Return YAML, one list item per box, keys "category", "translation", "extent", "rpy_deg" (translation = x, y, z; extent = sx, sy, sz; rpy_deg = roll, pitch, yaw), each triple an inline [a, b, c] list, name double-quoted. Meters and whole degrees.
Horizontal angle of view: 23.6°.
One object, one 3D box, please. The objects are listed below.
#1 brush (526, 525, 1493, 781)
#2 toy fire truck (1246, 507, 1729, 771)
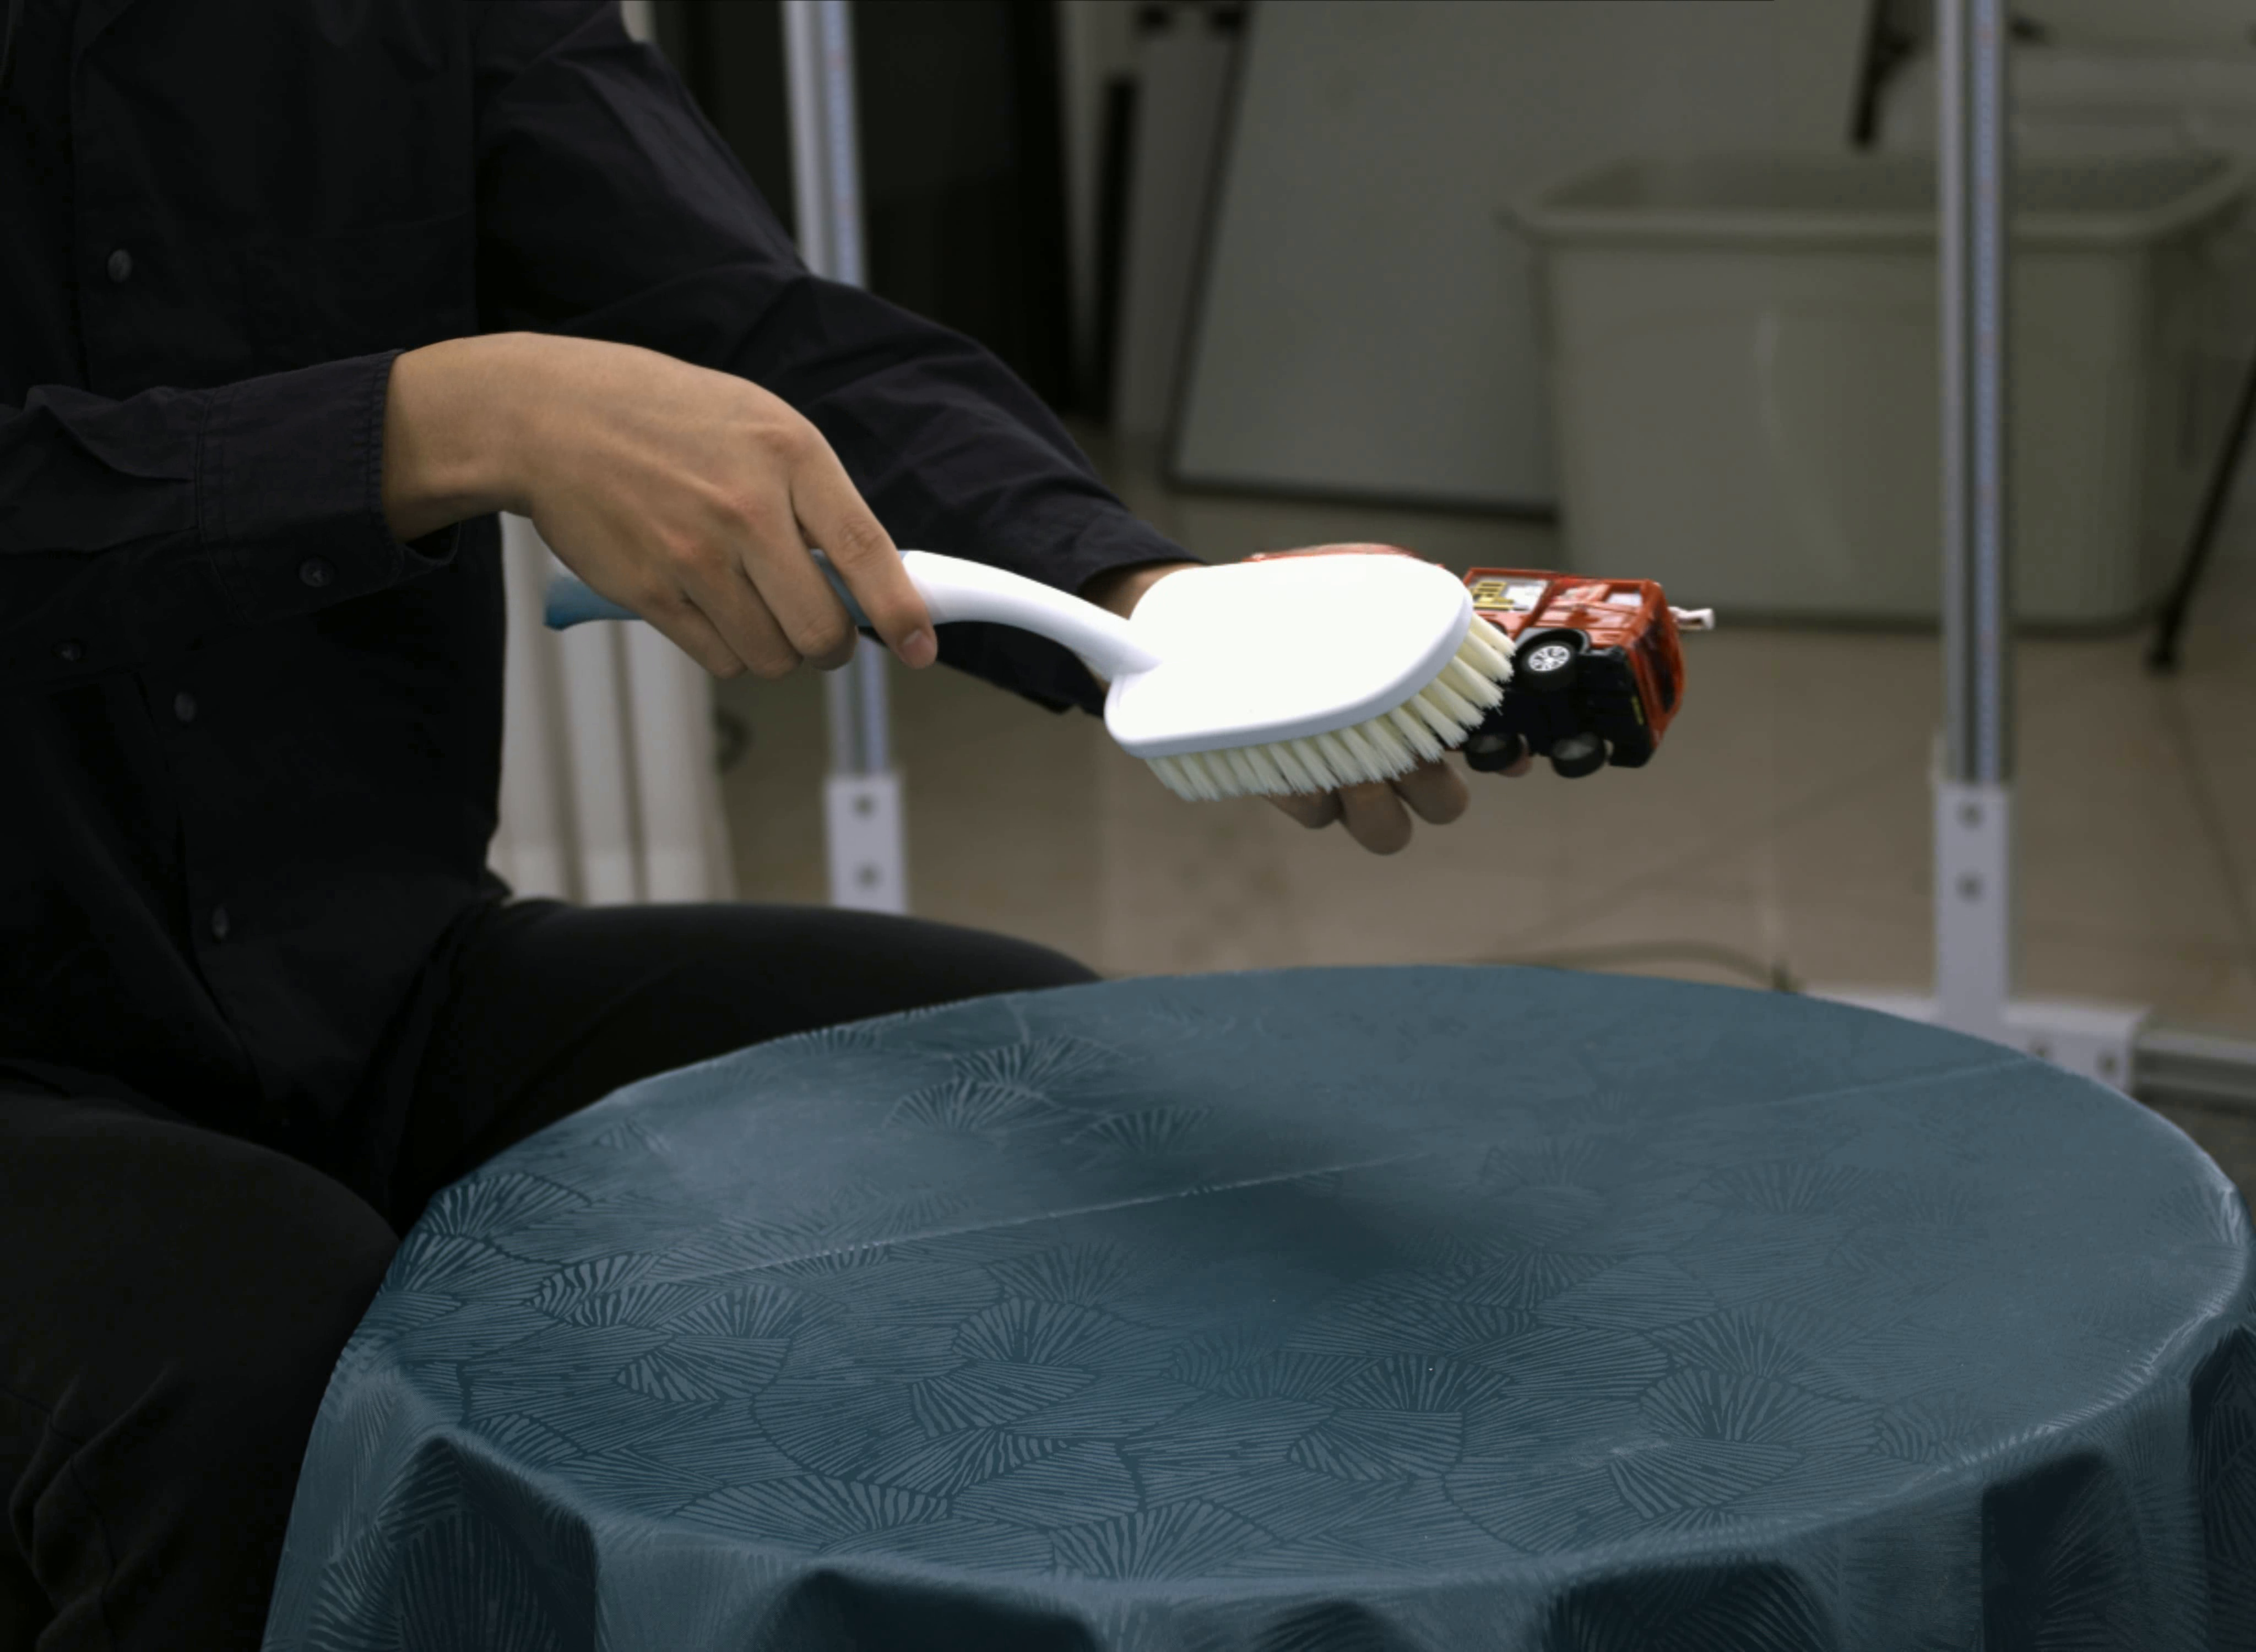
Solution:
- category: "brush"
  translation: [-0.036, -0.060, 1.708]
  extent: [0.325, 0.085, 0.082]
  rpy_deg: [2, 22, 24]
- category: "toy fire truck"
  translation: [0.102, -0.060, 1.696]
  extent: [0.169, 0.054, 0.070]
  rpy_deg: [3, 38, 33]
